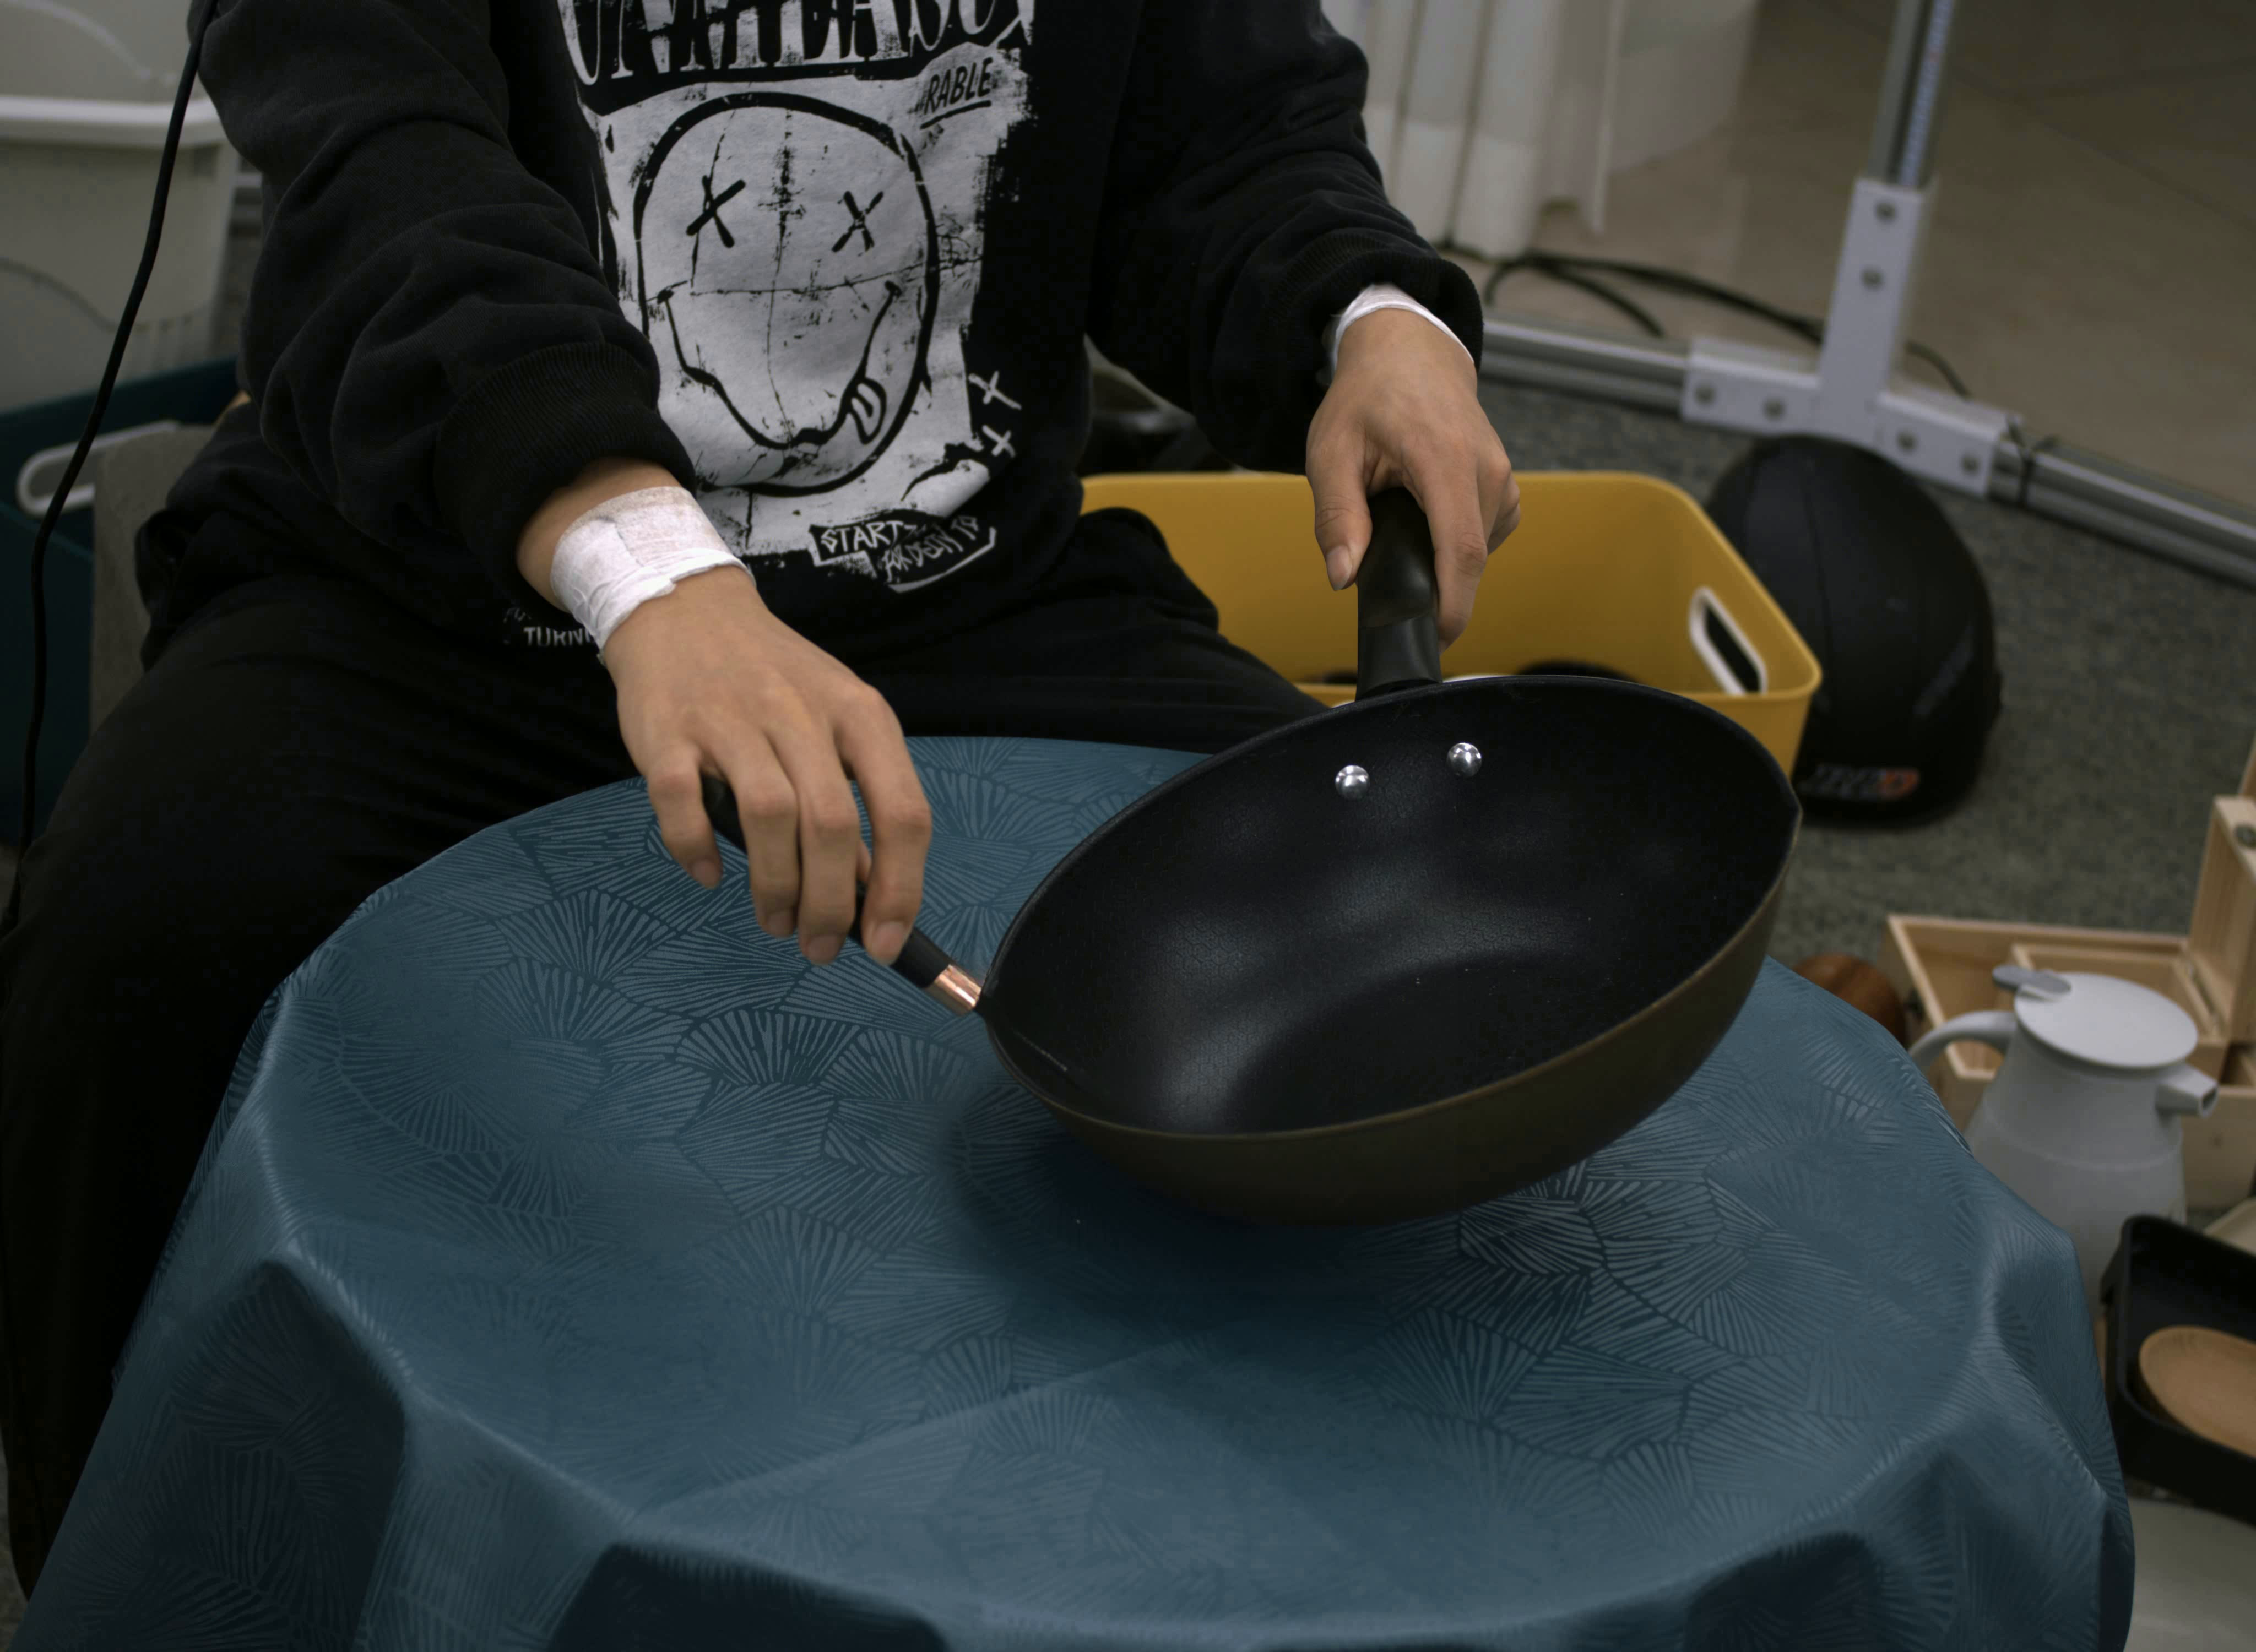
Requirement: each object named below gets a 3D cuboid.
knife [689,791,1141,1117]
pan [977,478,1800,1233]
[{"bbox_3d":[-0.050,0.056,1.722,0.224,0.017,0.026,36,3,-13],"label":"knife"},{"bbox_3d":[0.101,0.012,1.892,0.288,0.086,0.466,-13,28,11],"label":"pan"}]
